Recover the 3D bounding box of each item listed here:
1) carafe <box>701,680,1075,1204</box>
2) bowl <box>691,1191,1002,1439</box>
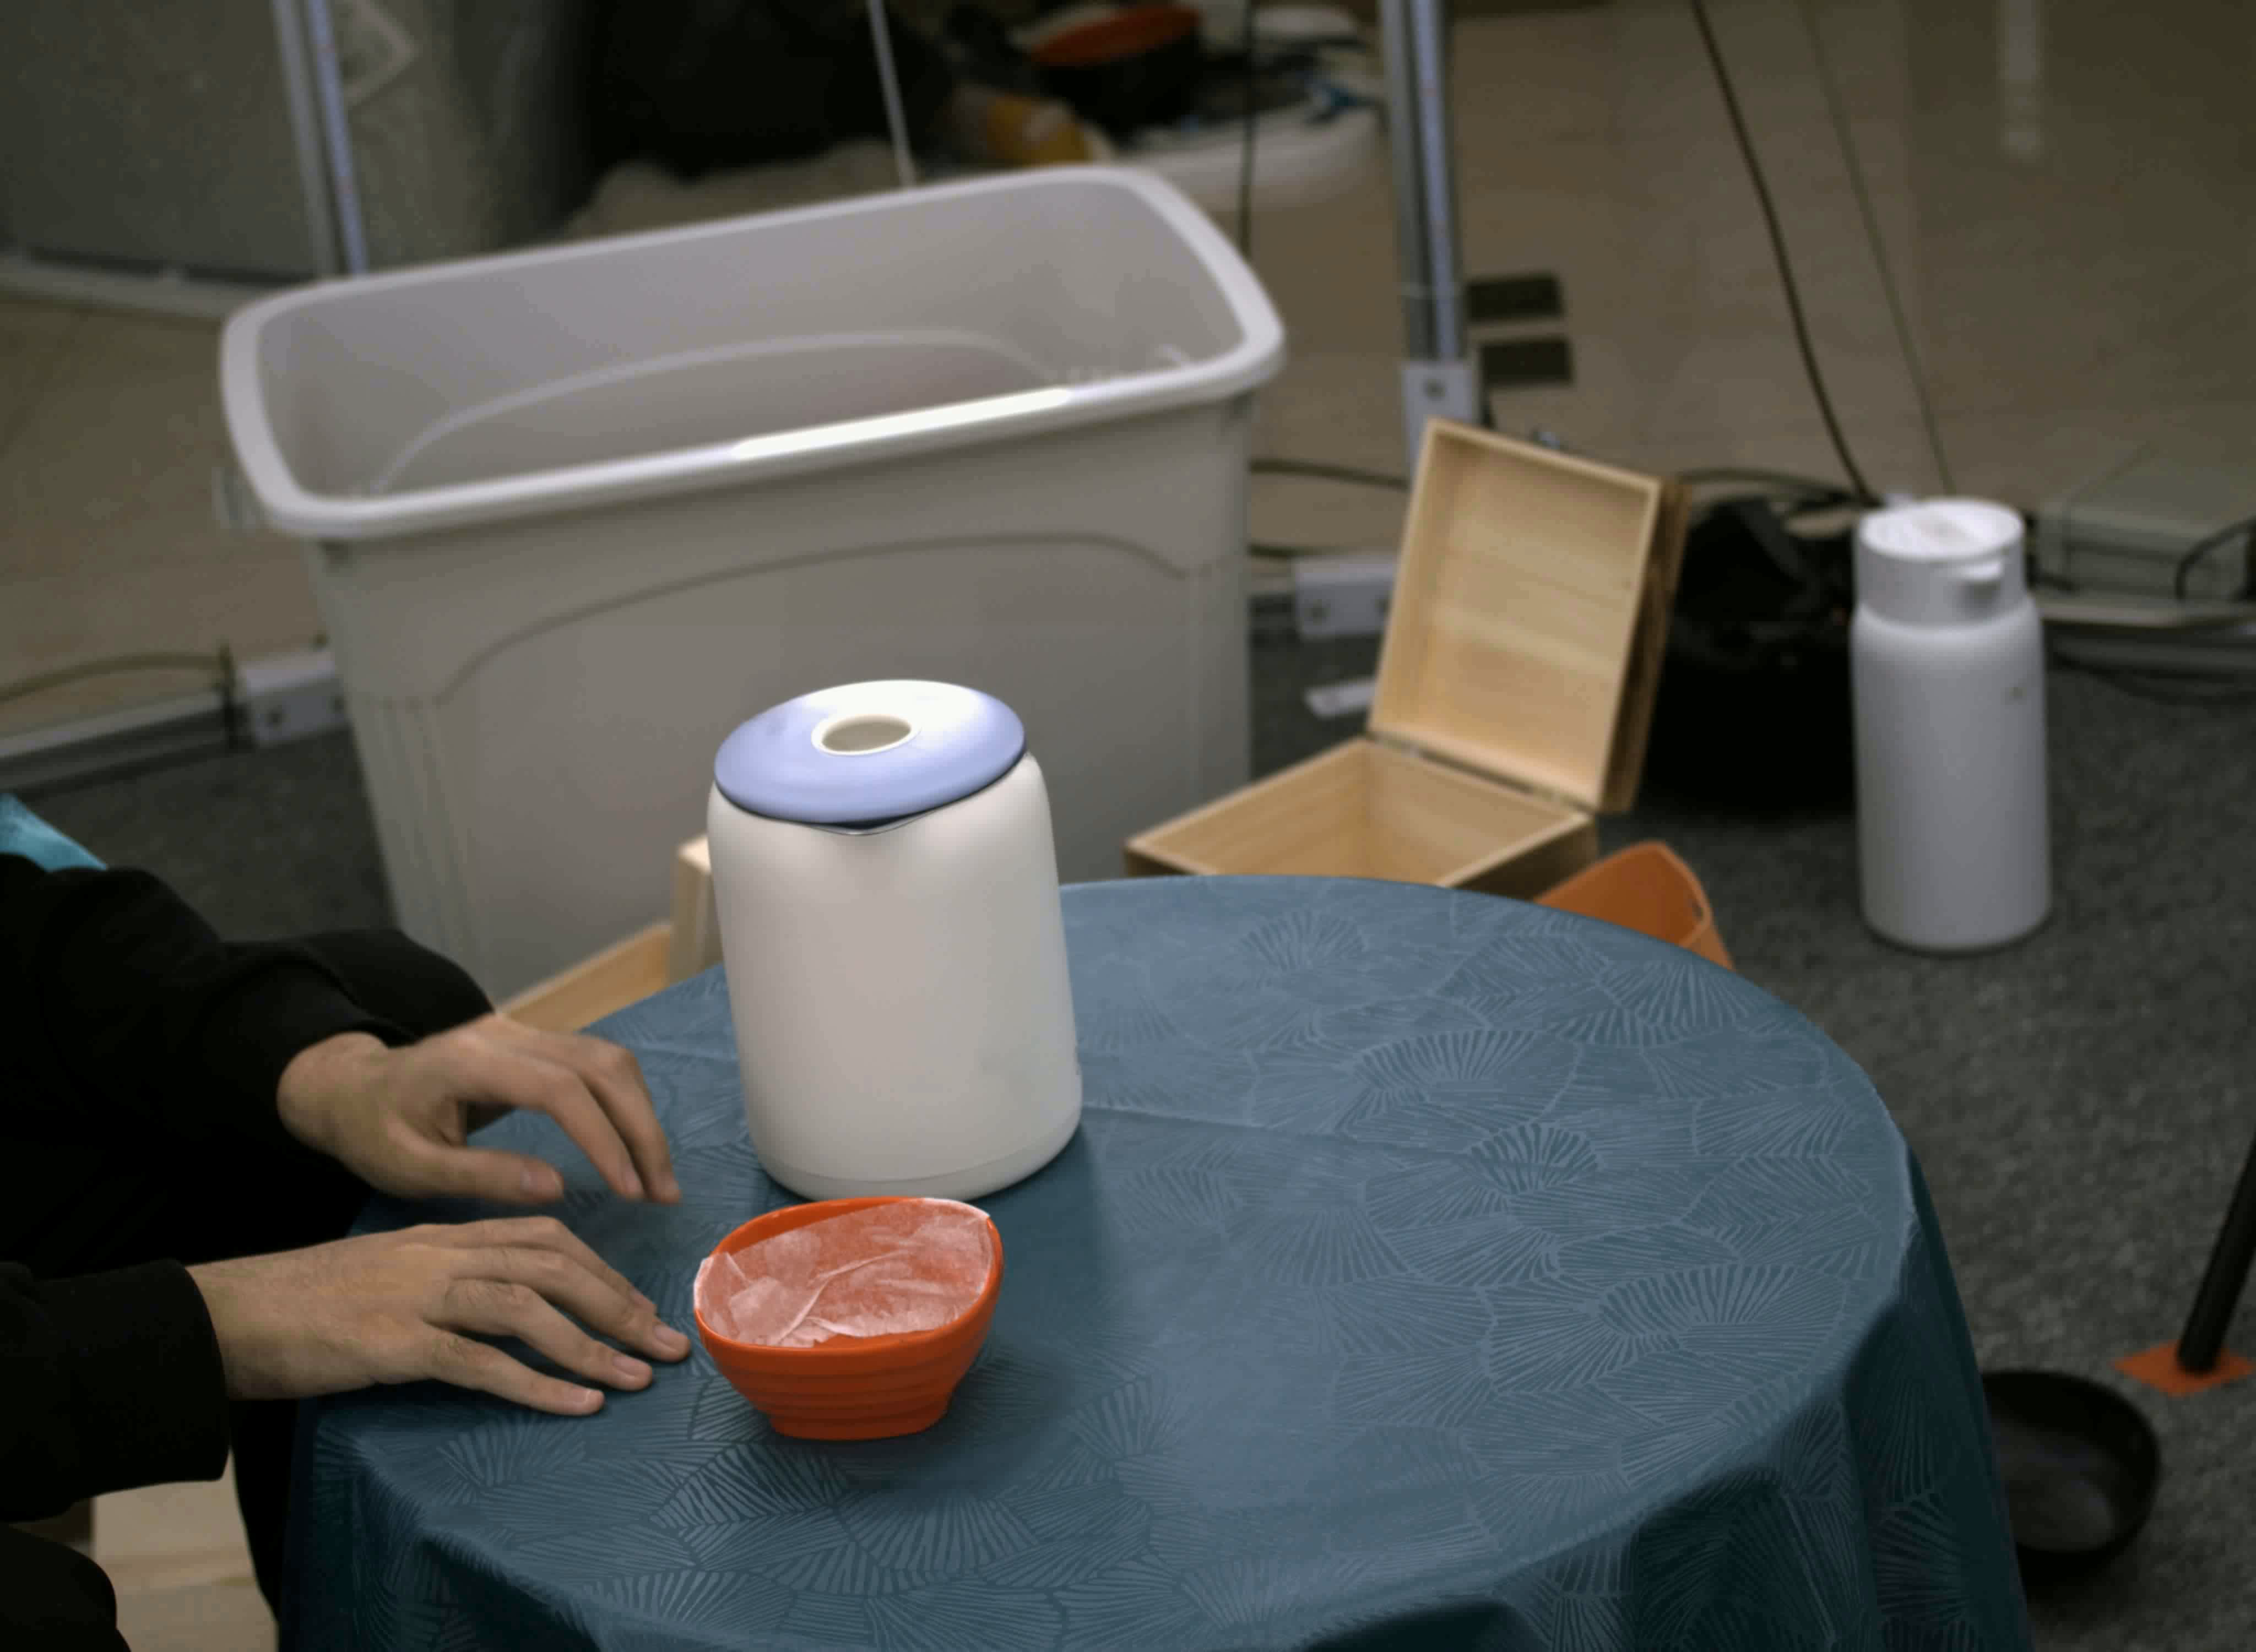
[{"bbox_3d":[-0.093,0.036,2.184,0.132,0.185,0.188,-6,23,-1],"label":"carafe"},{"bbox_3d":[-0.098,0.179,2.020,0.119,0.052,0.117,-4,27,2],"label":"bowl"}]
